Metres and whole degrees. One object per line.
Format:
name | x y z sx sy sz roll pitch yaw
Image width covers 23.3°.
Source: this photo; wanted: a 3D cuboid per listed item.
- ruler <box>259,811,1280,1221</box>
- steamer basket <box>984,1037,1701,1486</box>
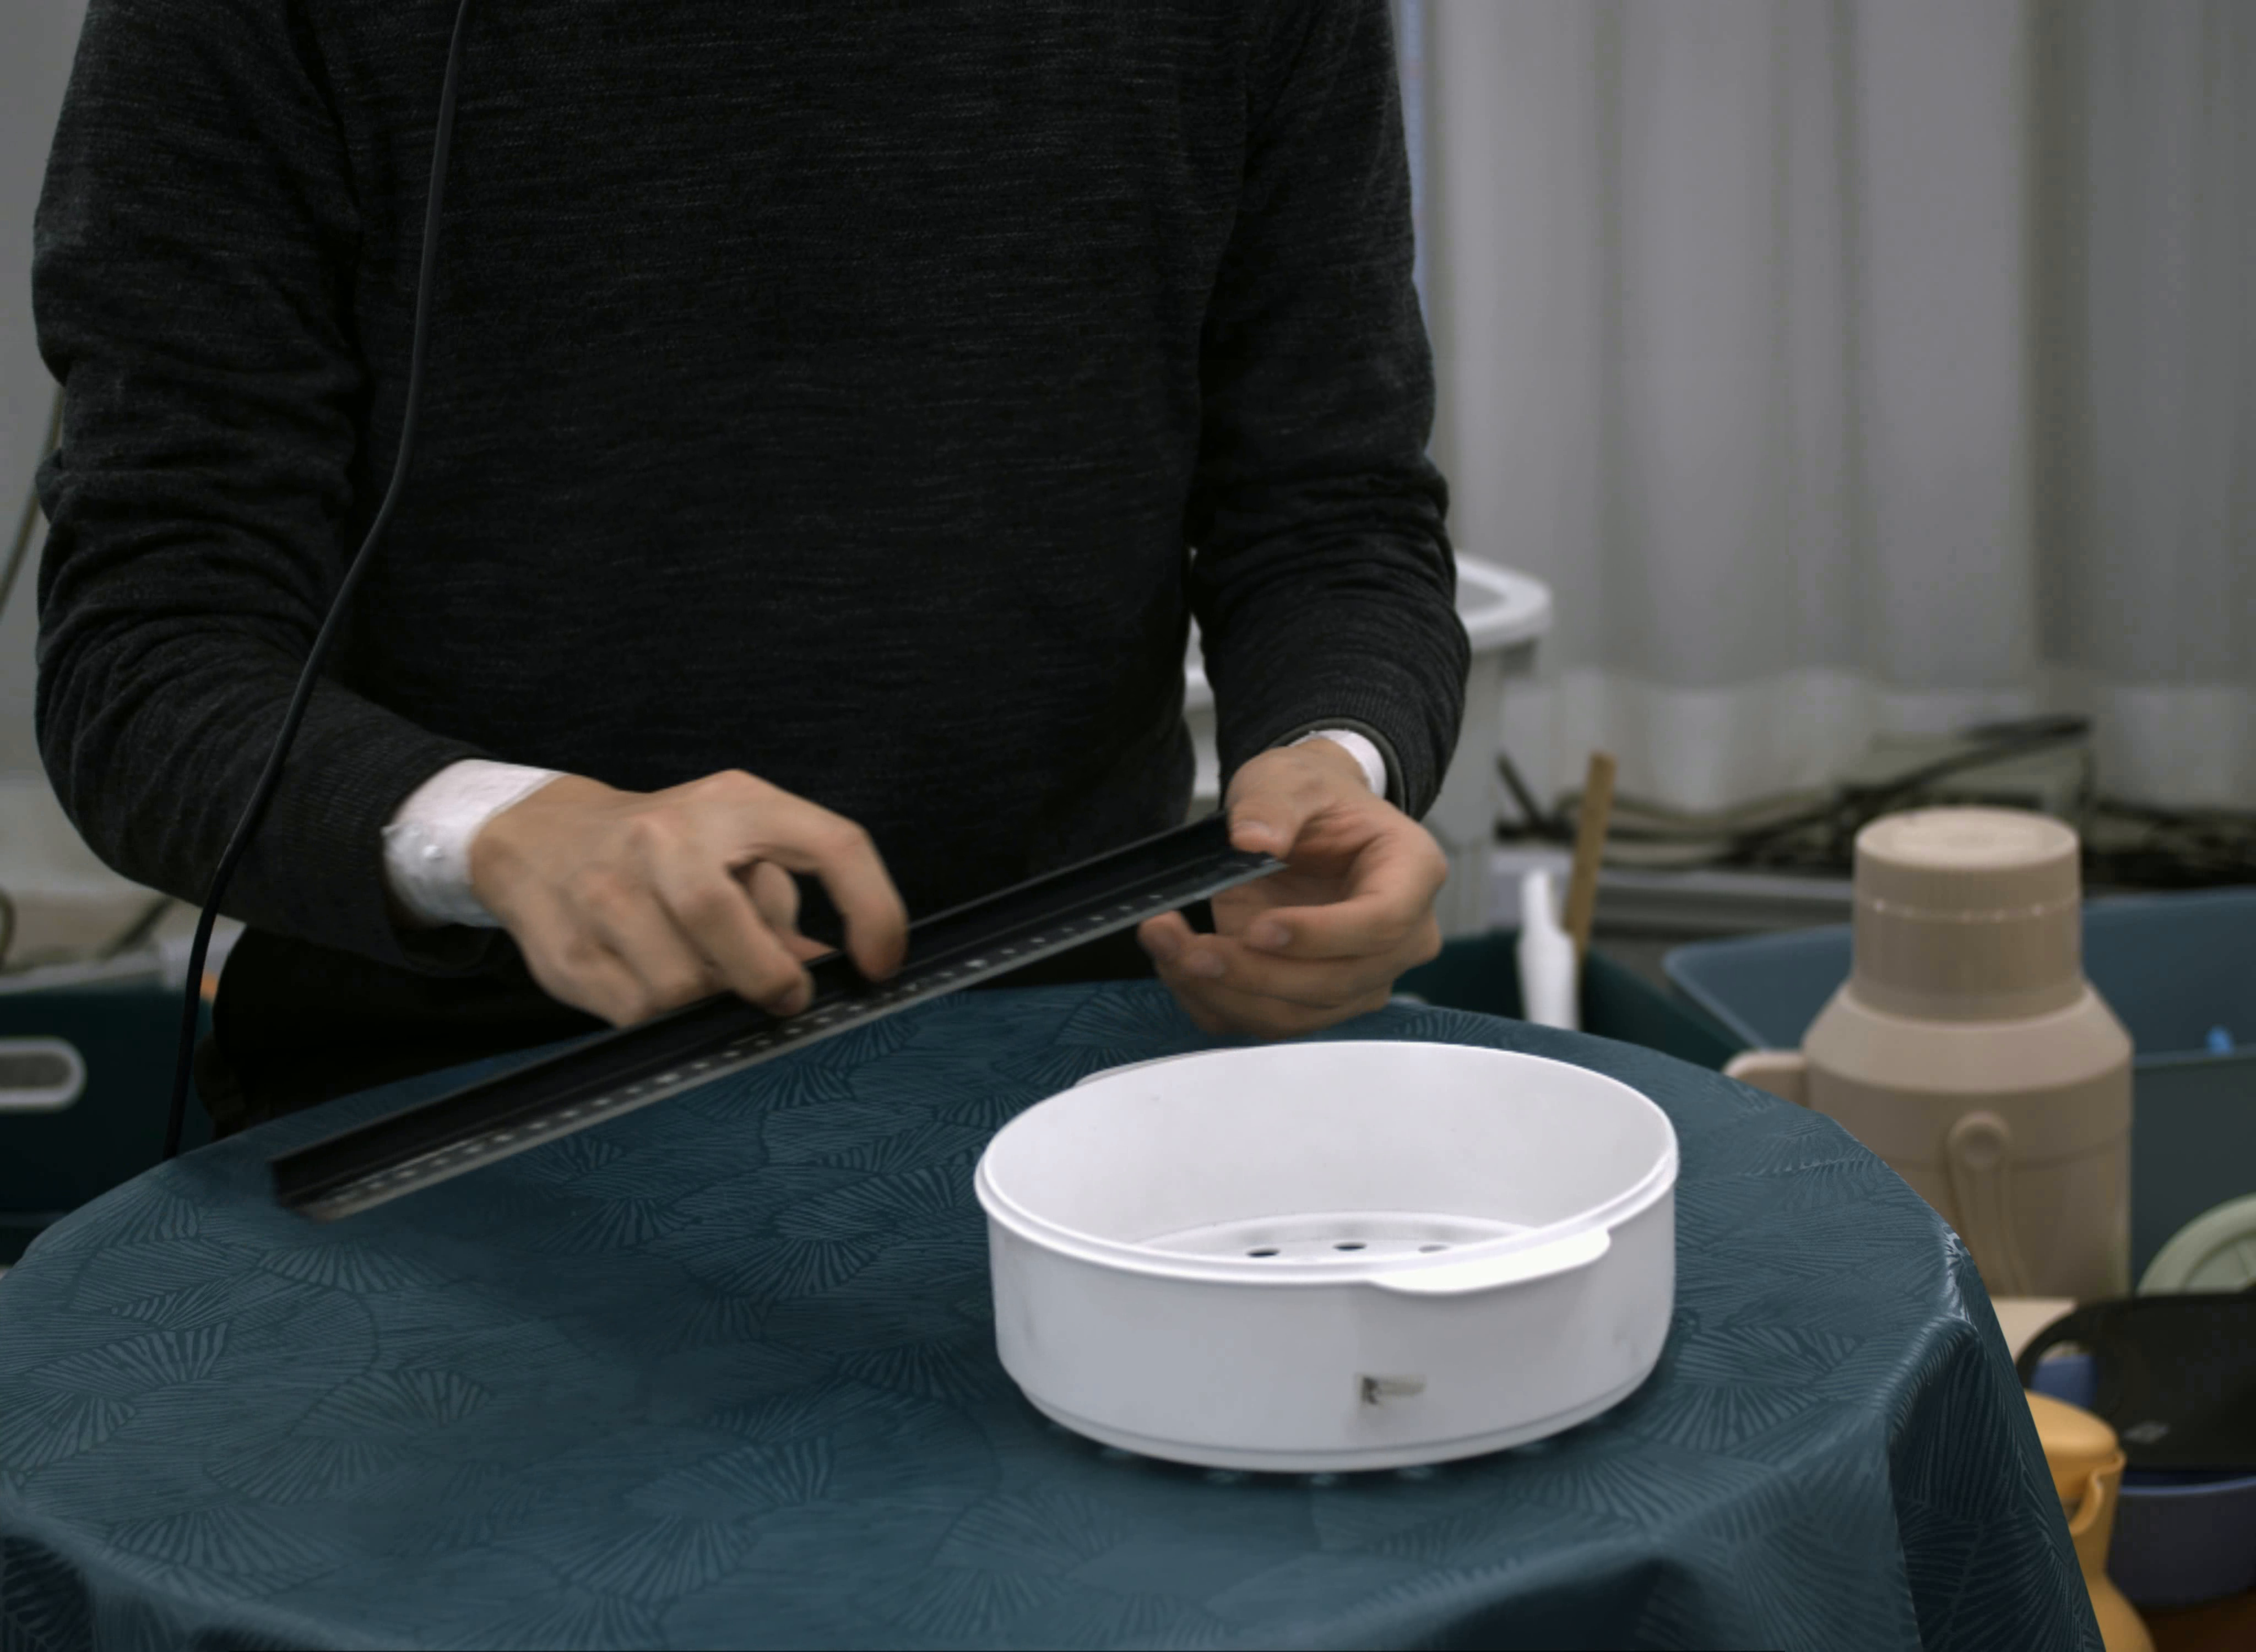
ruler | -0.098 0.052 1.553 0.312 0.017 0.039 -20 17 -23
steamer basket | 0.061 0.122 1.541 0.201 0.069 0.232 -9 18 -24
